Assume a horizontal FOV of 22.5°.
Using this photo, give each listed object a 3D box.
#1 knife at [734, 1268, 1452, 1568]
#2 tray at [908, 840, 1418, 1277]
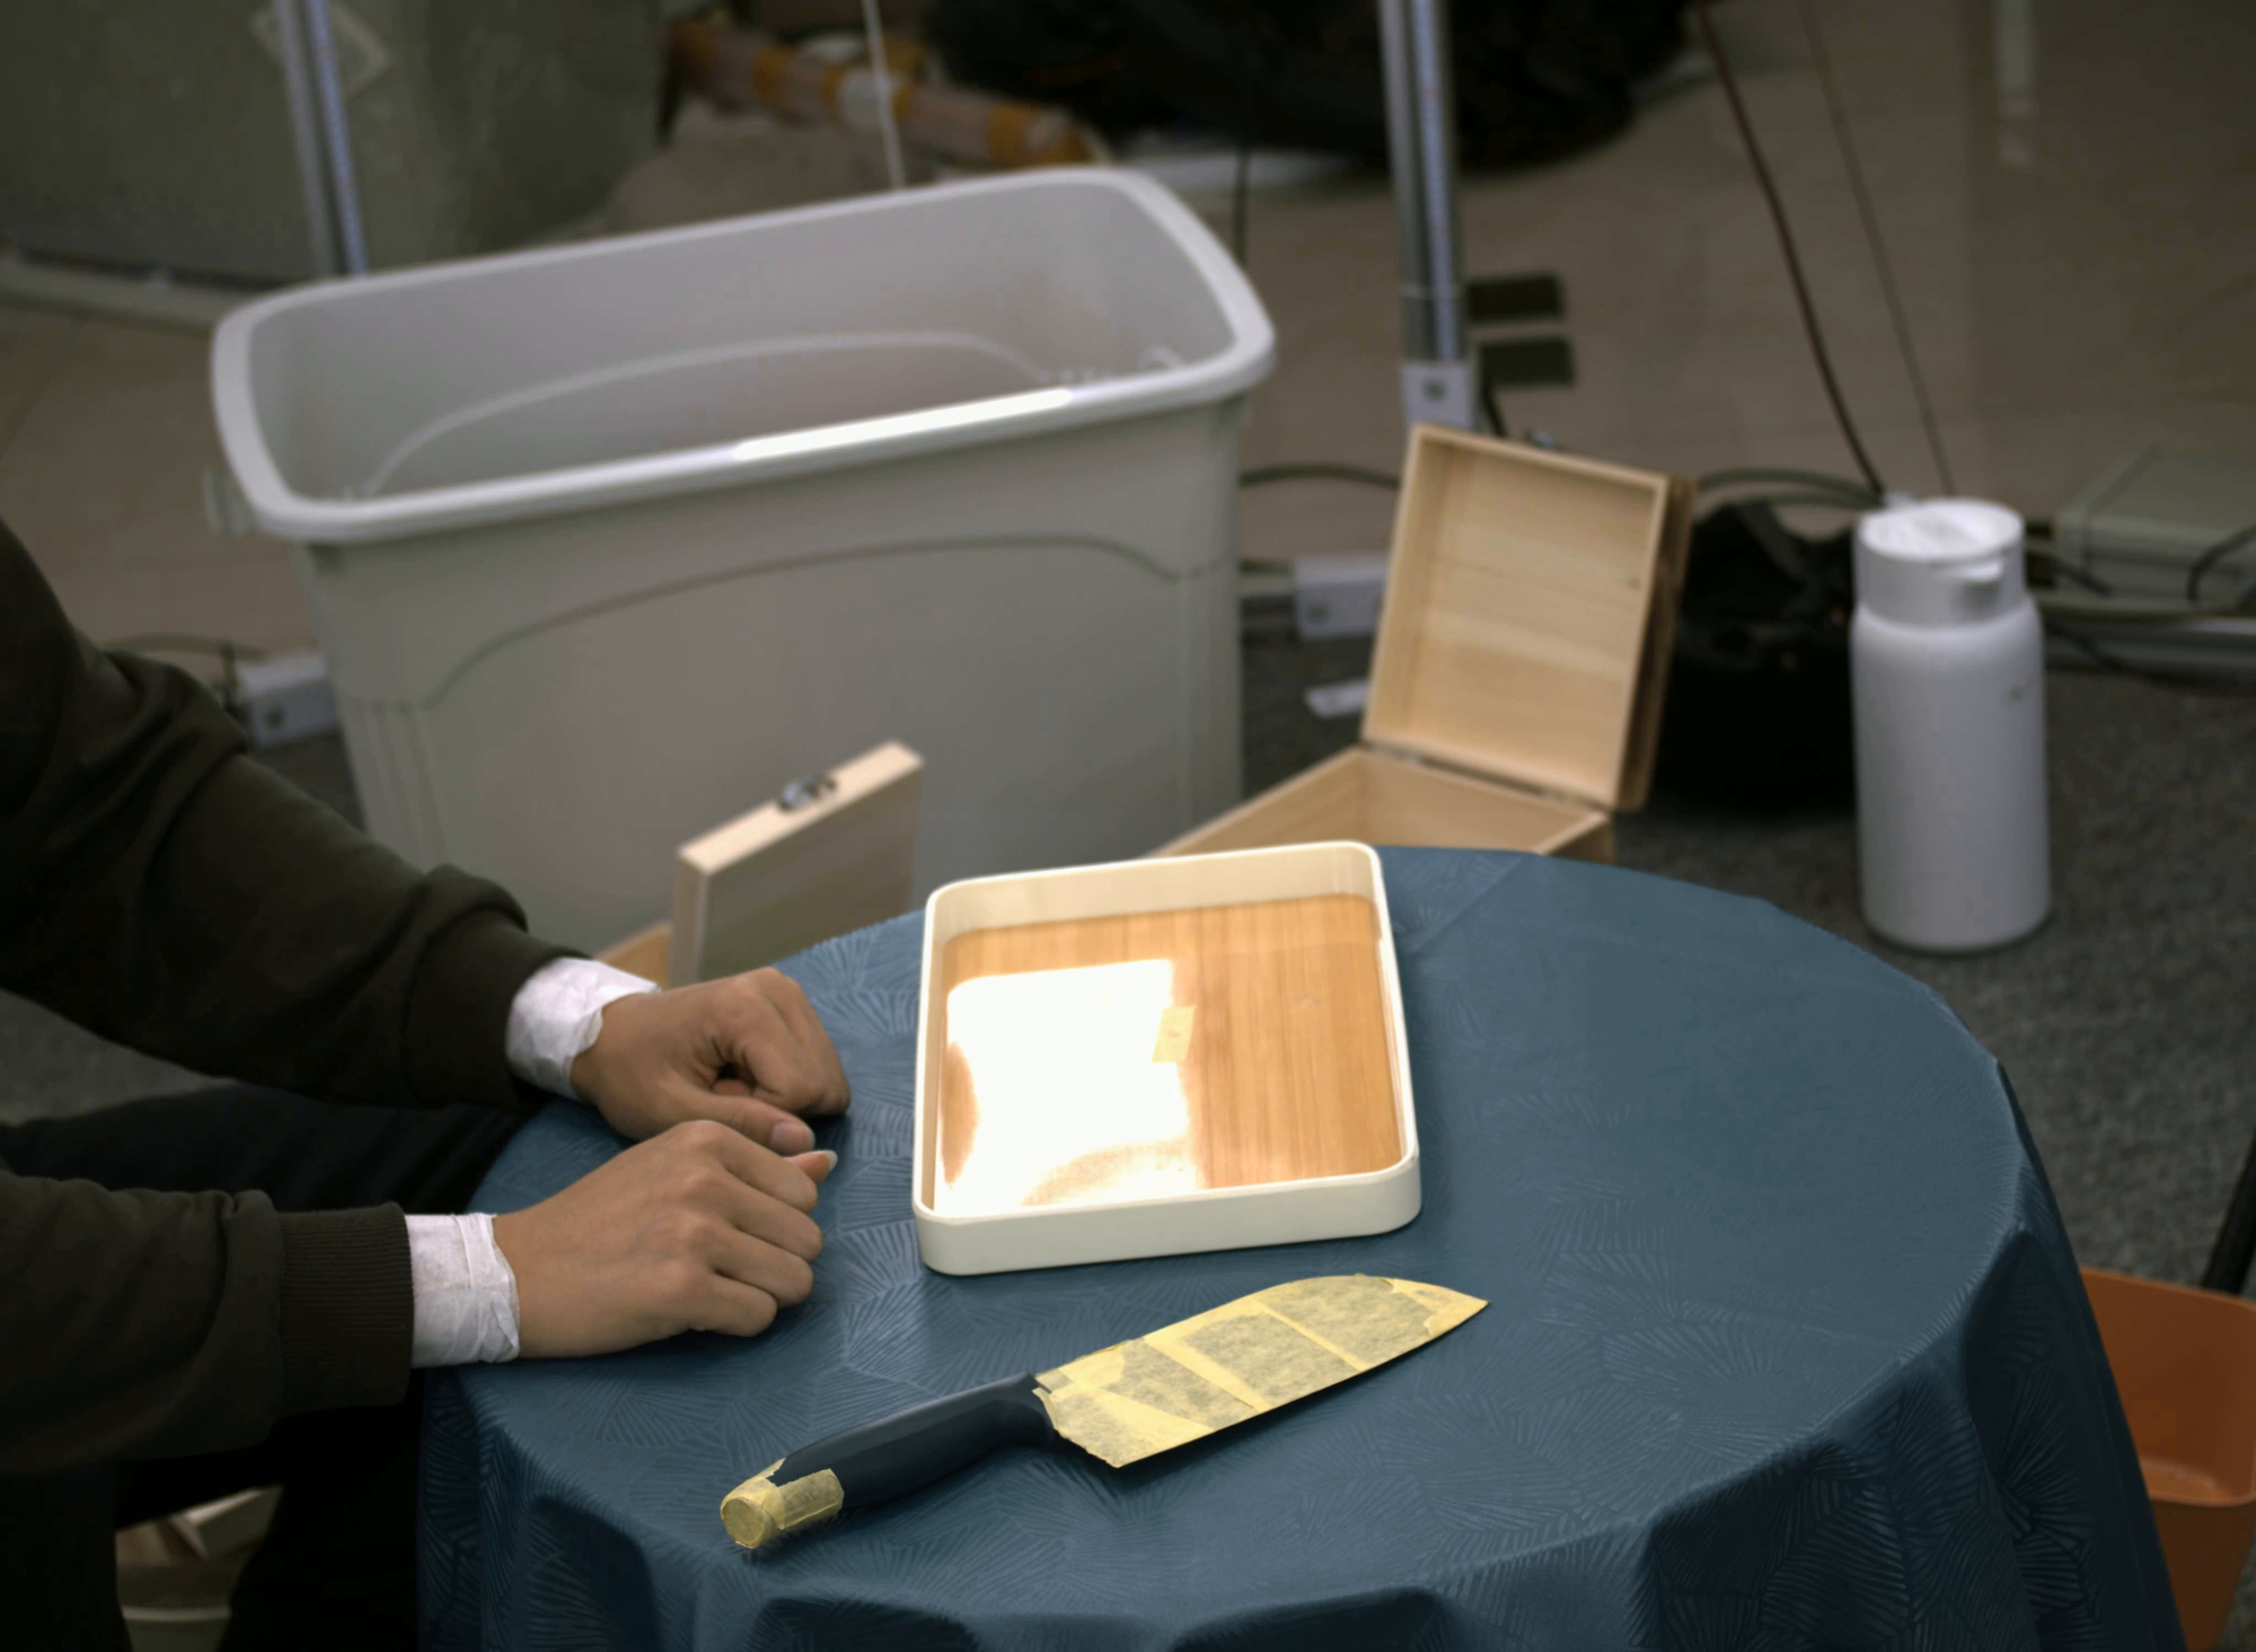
[{"bbox_3d":[-0.006,0.205,1.993,0.288,0.027,0.080,-19,25,-27],"label":"knife"},{"bbox_3d":[0.012,0.087,2.229,0.191,0.028,0.296,-7,24,3],"label":"tray"}]
